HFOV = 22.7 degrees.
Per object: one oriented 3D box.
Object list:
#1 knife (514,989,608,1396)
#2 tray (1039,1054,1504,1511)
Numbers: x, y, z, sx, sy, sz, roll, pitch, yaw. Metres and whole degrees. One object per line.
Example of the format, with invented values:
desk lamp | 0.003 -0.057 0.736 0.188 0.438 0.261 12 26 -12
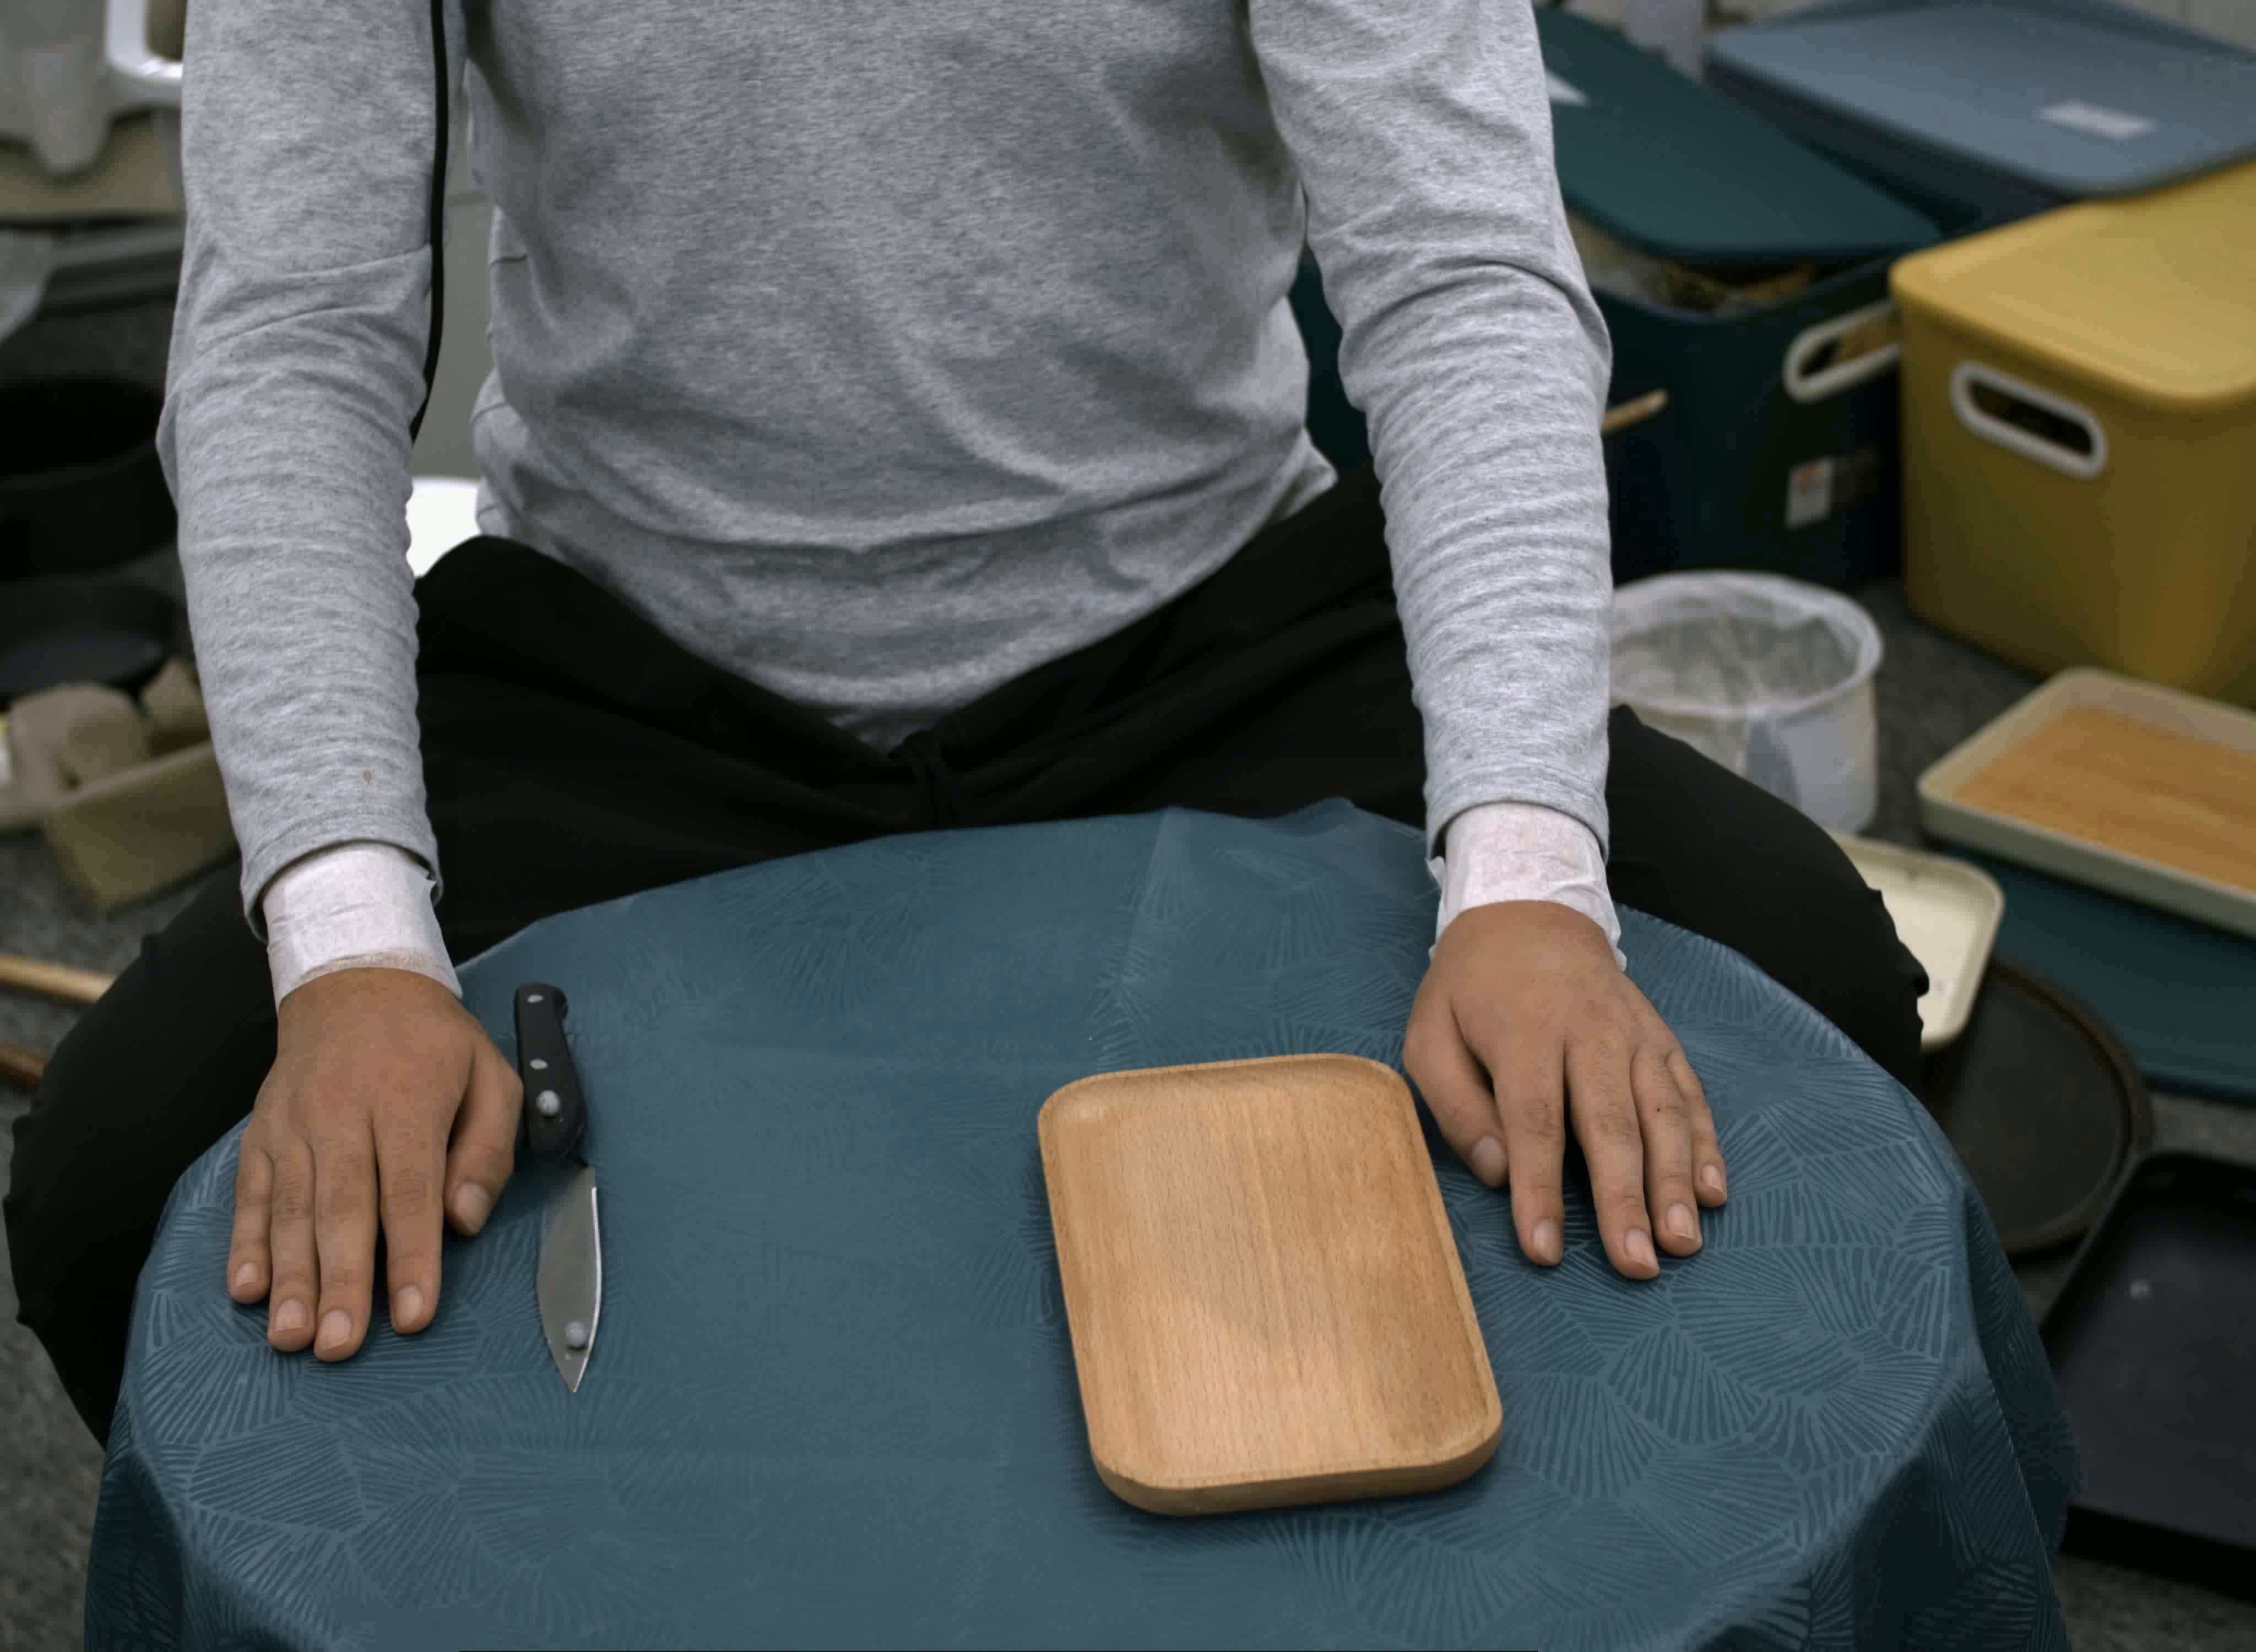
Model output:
knife | -0.190 0.121 1.869 0.024 0.016 0.241 -6 30 -6
tray | 0.042 0.143 1.798 0.130 0.022 0.254 -2 26 -4
